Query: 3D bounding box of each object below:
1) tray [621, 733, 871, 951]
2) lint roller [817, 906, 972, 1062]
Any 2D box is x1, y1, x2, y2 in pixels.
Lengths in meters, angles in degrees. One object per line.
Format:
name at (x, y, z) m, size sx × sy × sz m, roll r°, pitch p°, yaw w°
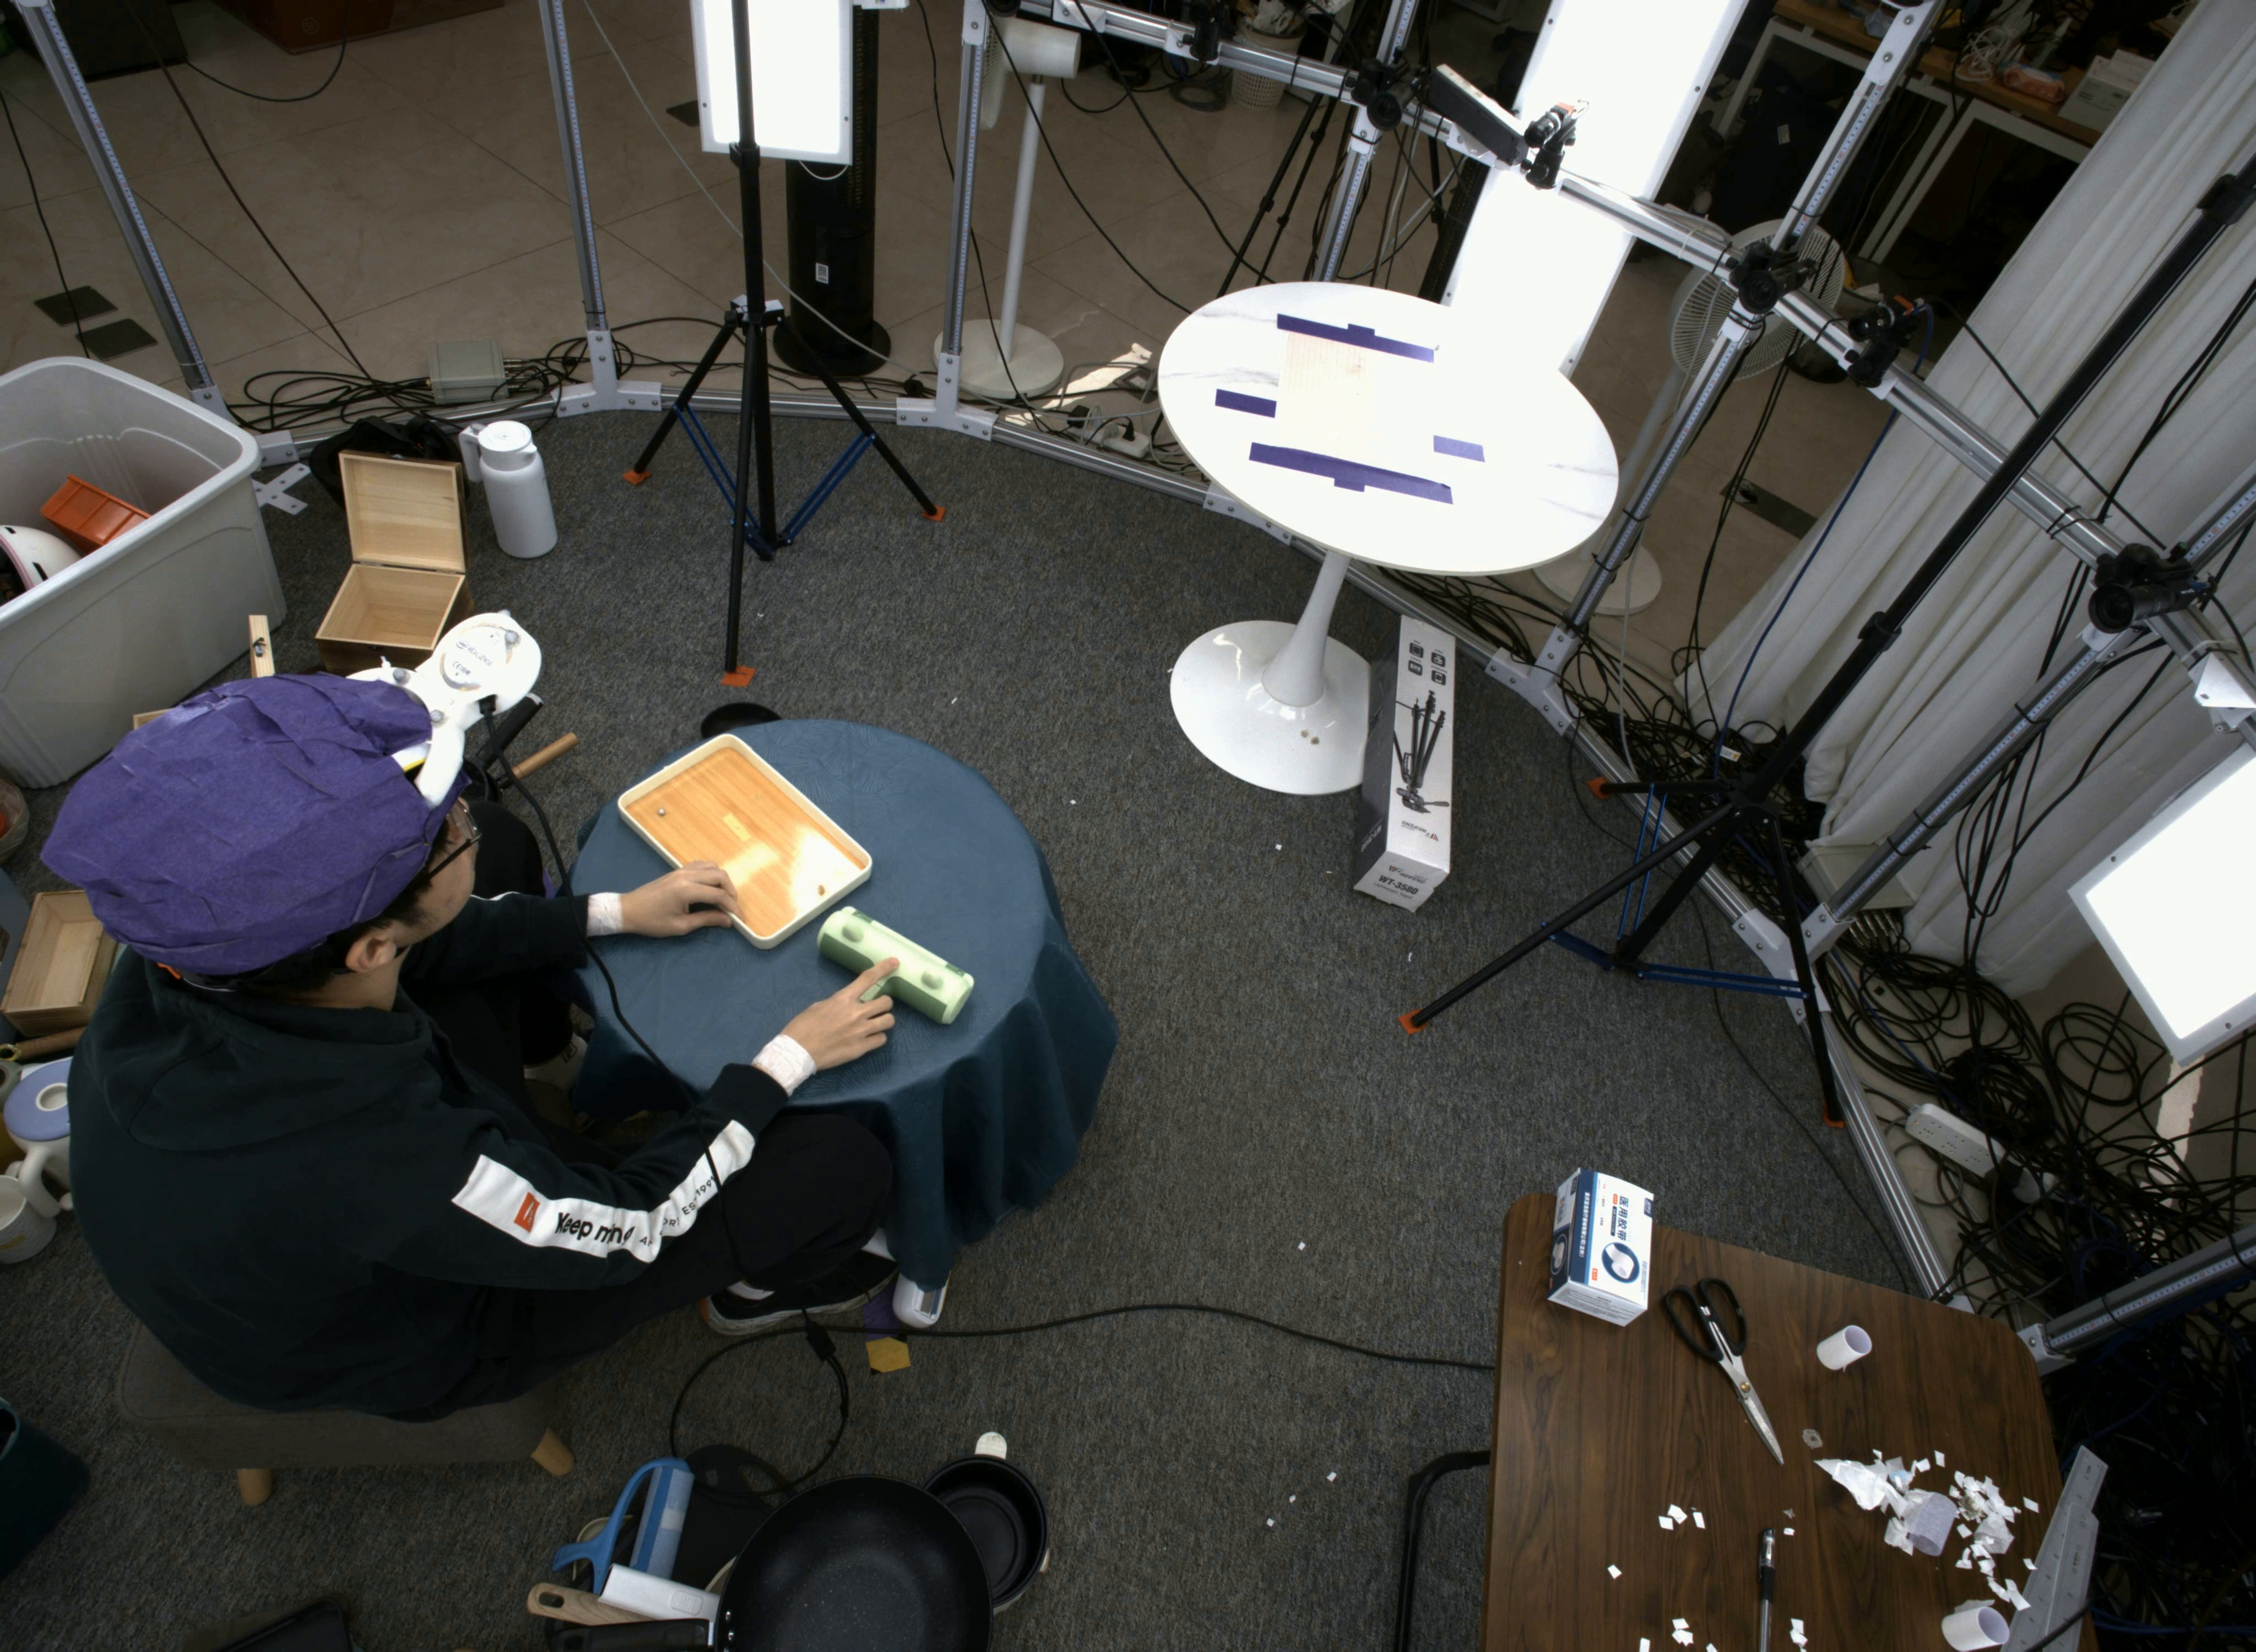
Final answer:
tray at (-0.499, 0.014, 1.683) m, size 0.294 × 0.028 × 0.192 m, roll 39°, pitch 55°, yaw 15°
lint roller at (-0.313, 0.198, 1.561) m, size 0.196 × 0.083 × 0.182 m, roll 30°, pitch 47°, yaw 6°
